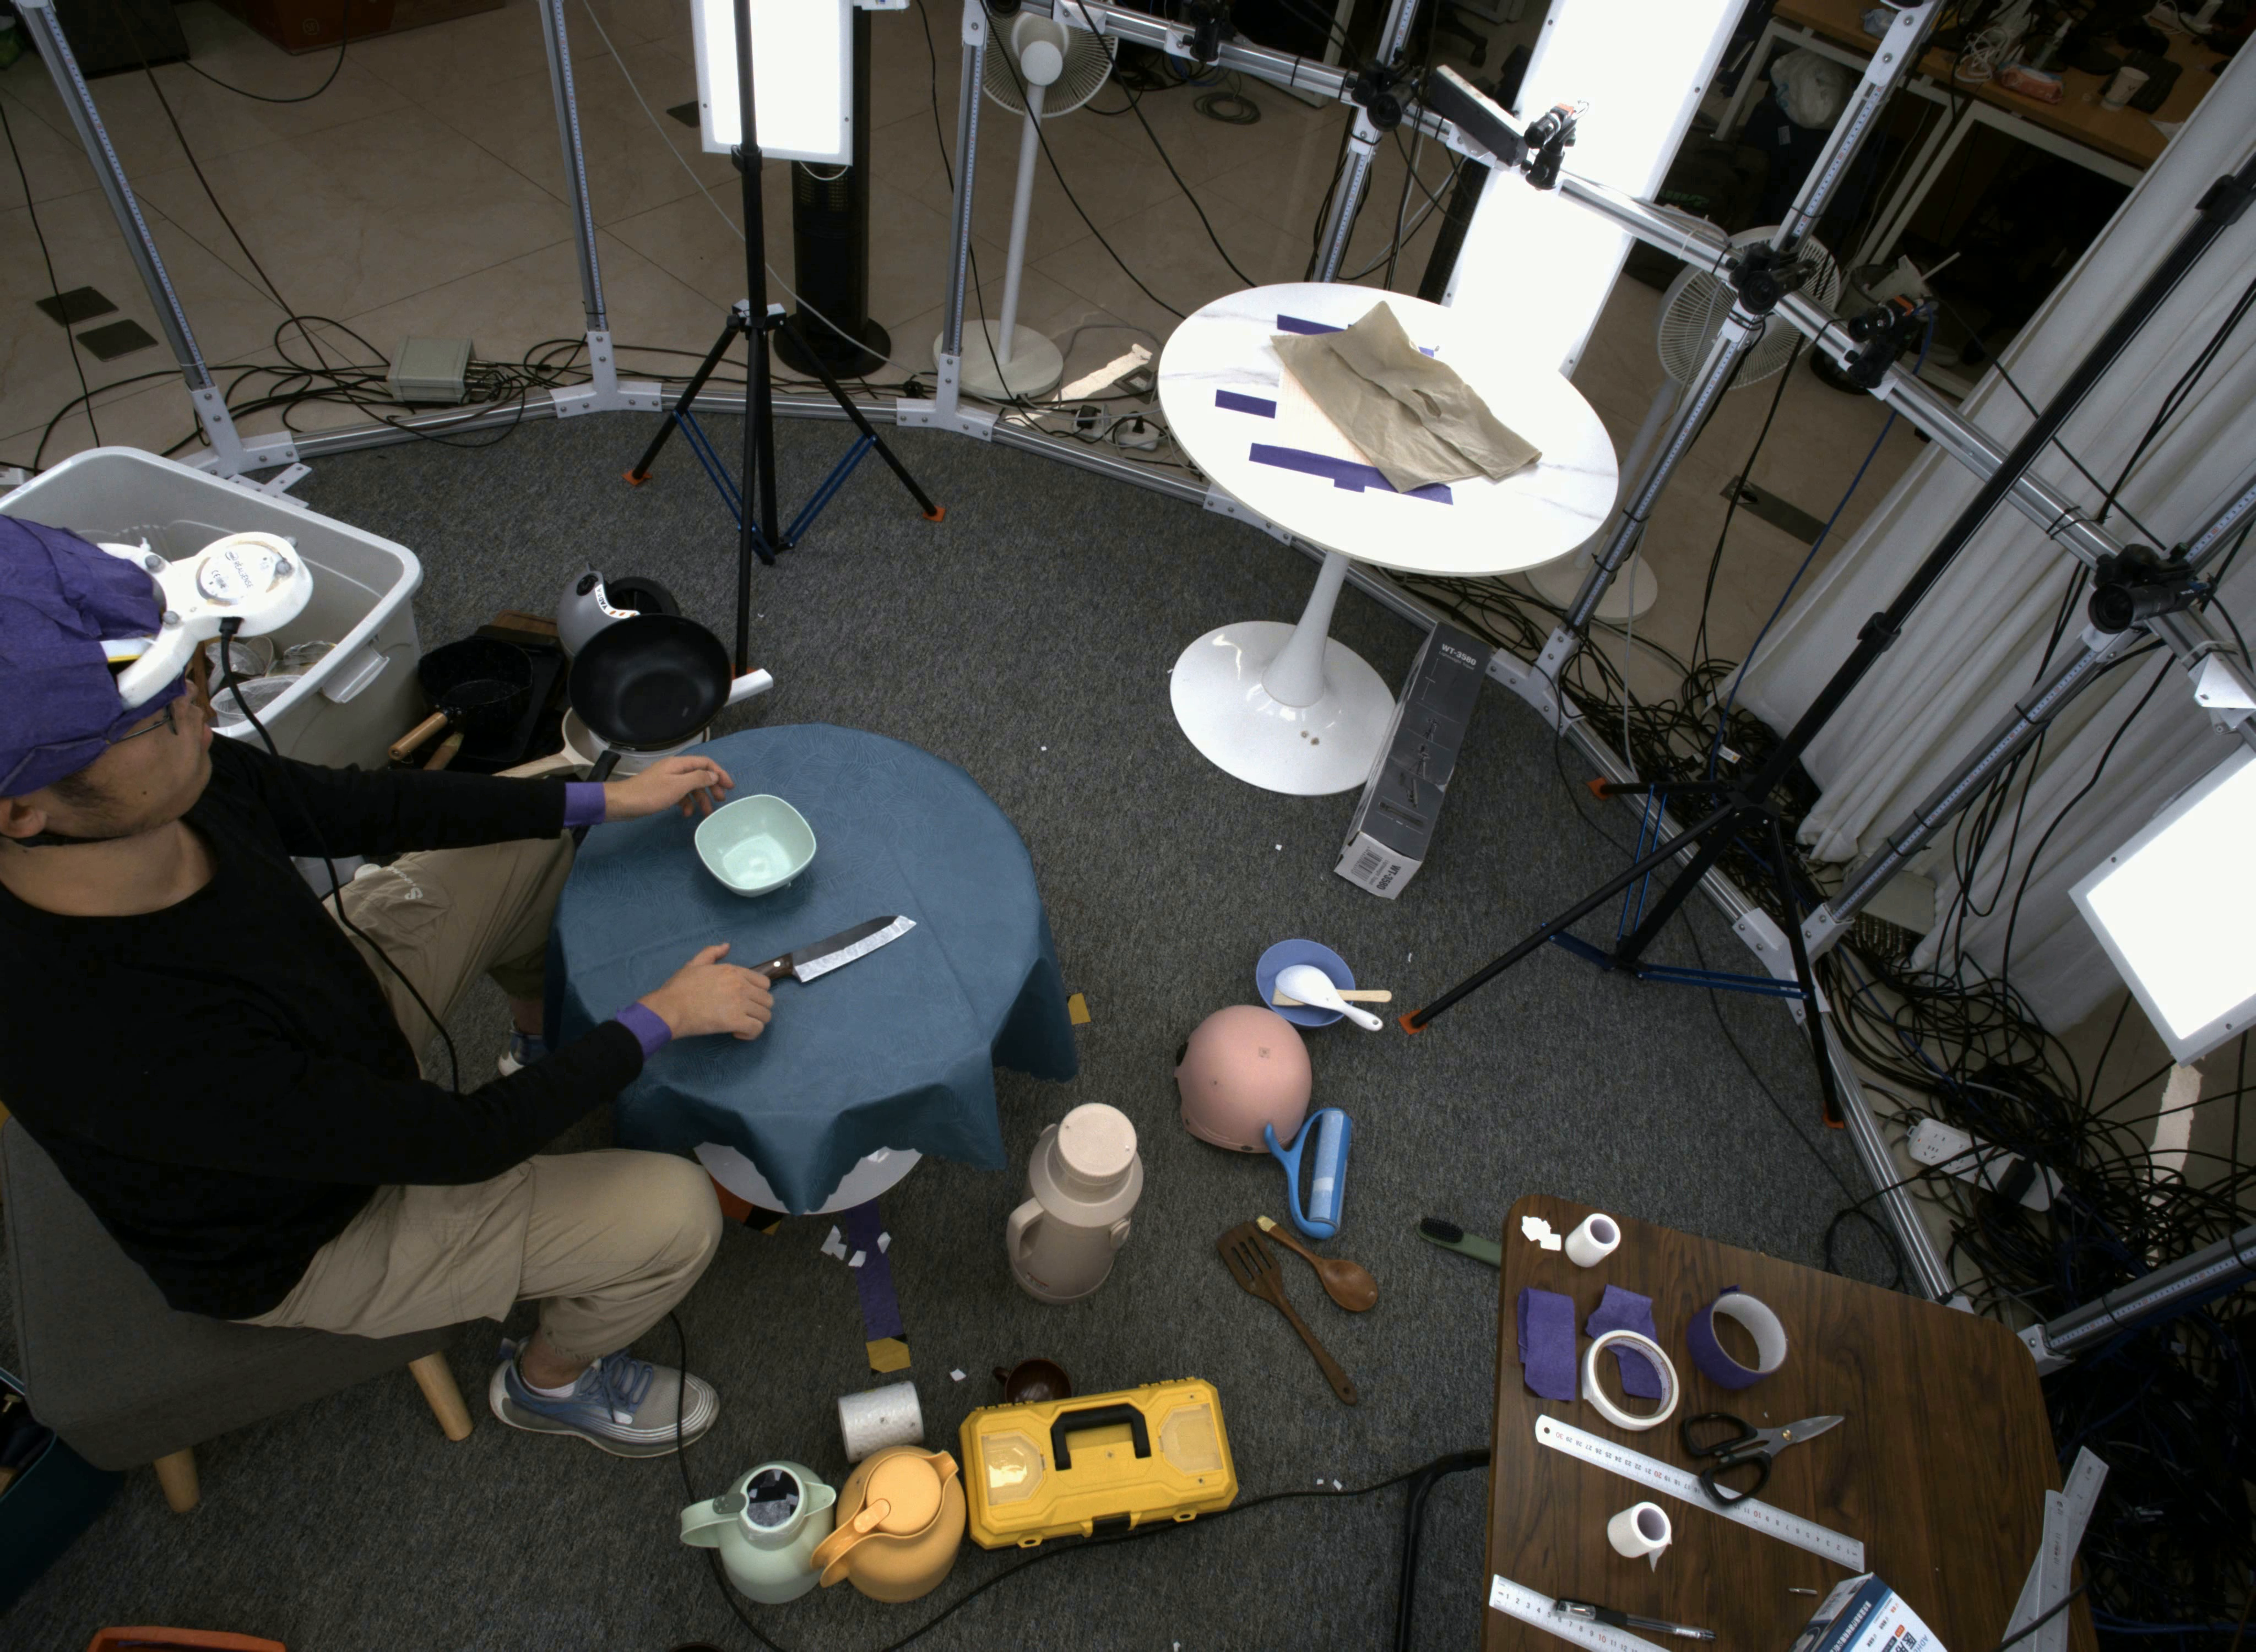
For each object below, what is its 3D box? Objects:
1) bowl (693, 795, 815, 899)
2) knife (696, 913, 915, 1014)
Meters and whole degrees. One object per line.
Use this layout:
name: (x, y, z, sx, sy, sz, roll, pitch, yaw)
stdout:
bowl: (-0.474, 0.035, 1.646, 0.151, 0.060, 0.148, 9, 51, -9)
knife: (-0.391, 0.164, 1.598, 0.291, 0.020, 0.049, -21, 65, -30)
